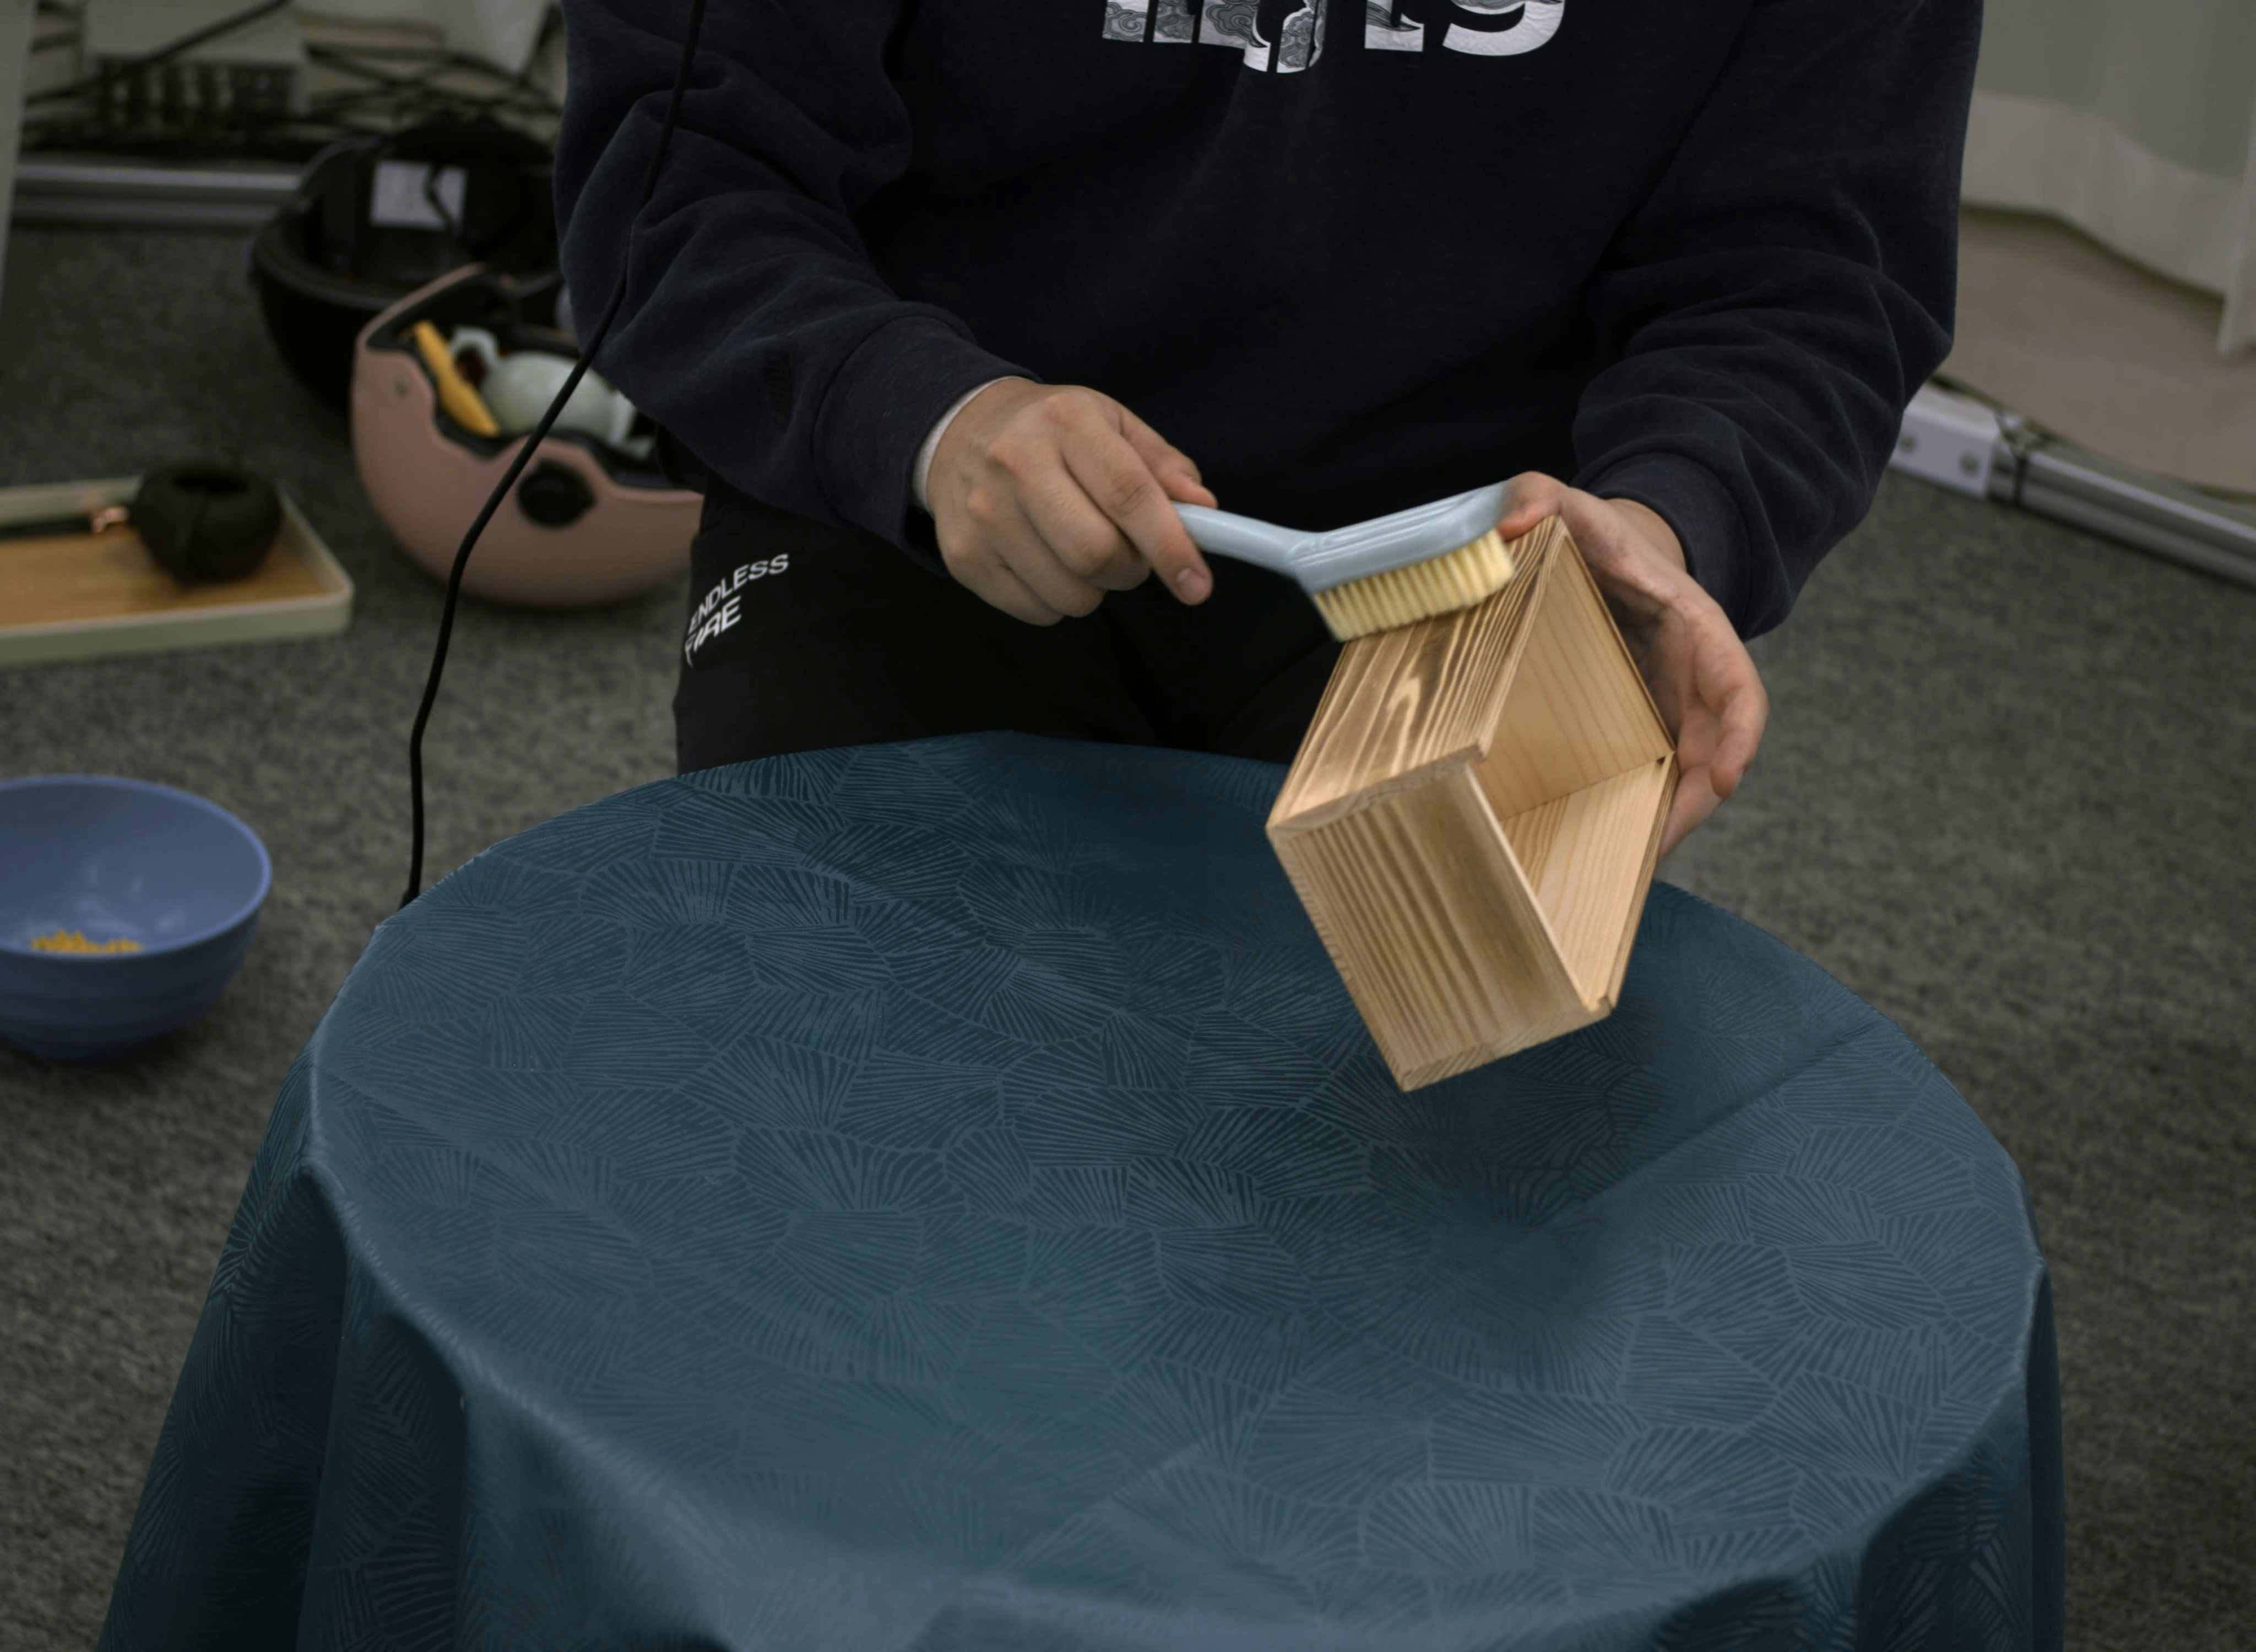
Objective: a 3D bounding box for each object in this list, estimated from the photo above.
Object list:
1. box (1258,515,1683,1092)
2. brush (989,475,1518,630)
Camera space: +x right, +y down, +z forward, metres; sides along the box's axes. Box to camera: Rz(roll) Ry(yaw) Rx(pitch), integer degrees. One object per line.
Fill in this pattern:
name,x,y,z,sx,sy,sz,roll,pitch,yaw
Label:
box,0.122,-0.011,1.837,0.080,0.107,0.212,-22,18,22
brush,0.041,-0.096,1.915,0.230,0.049,0.038,0,31,38
